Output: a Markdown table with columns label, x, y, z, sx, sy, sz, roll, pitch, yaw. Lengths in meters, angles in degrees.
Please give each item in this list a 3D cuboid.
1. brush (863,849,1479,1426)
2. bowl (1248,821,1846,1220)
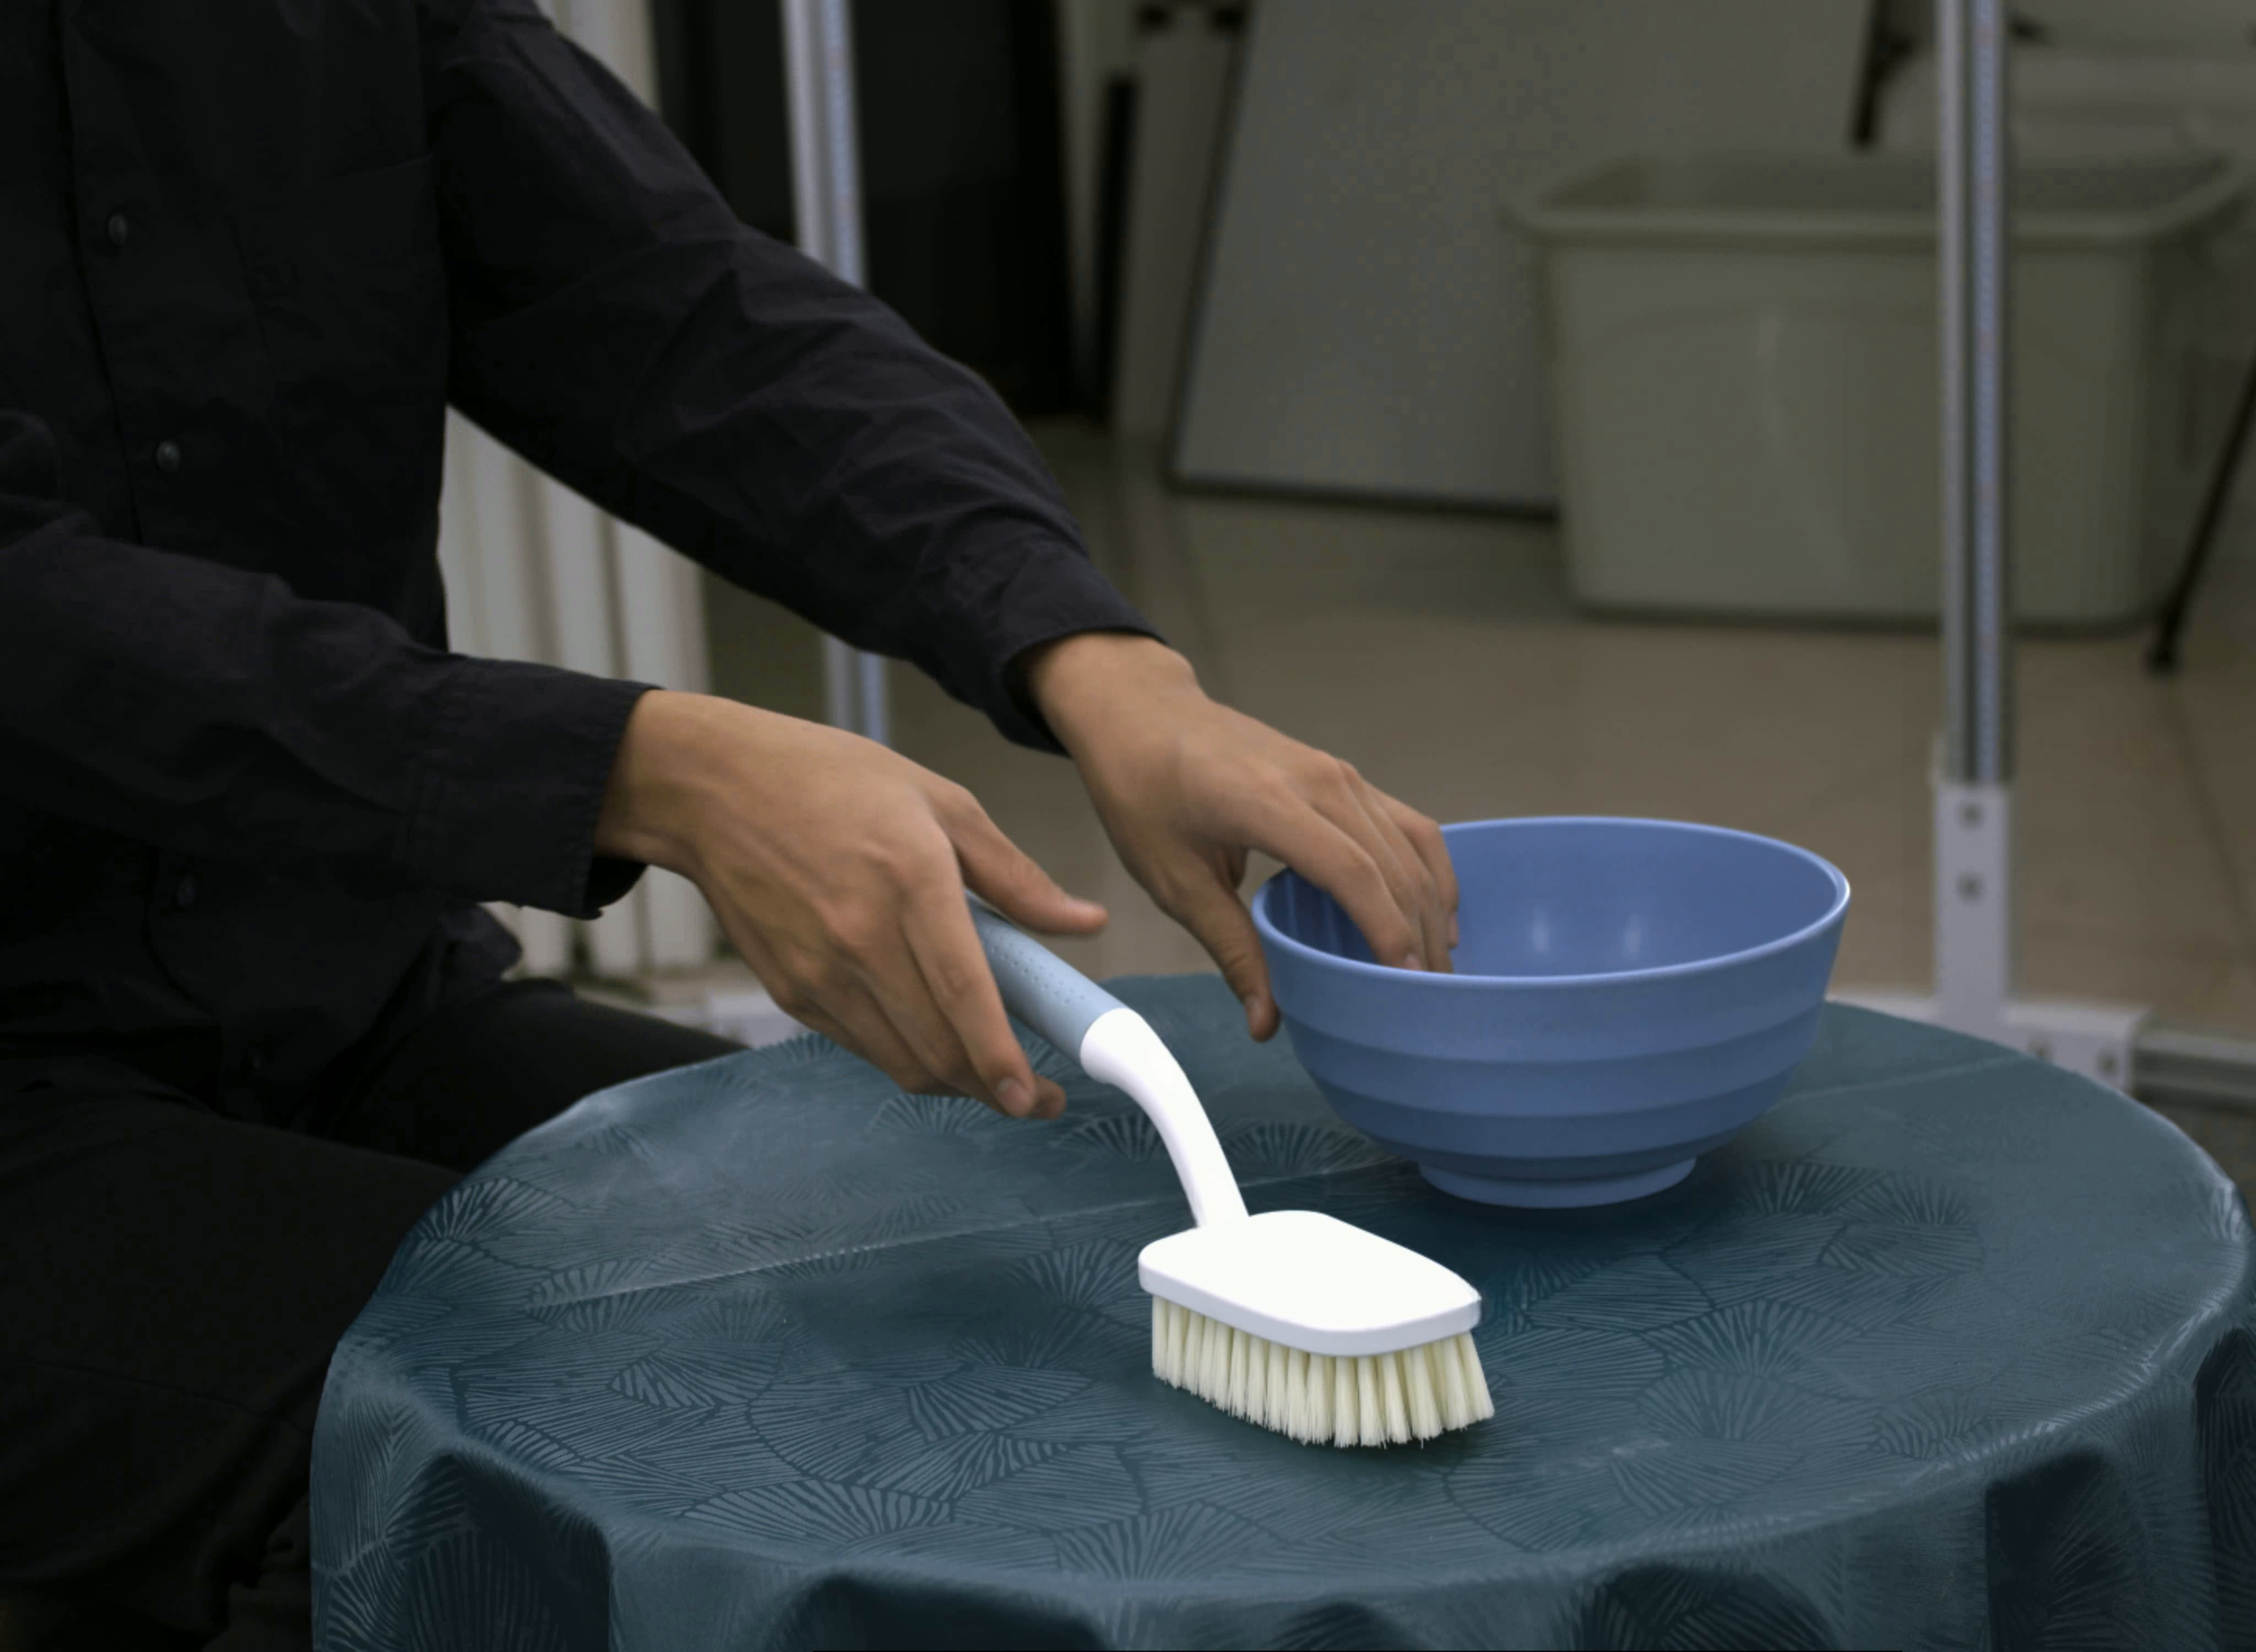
| label | x | y | z | sx | sy | sz | roll | pitch | yaw |
| --- | --- | --- | --- | --- | --- | --- | --- | --- | --- |
| brush | 0.008 | 0.107 | 1.649 | 0.081 | 0.085 | 0.329 | 33 | 1 | -40 |
| bowl | 0.139 | 0.069 | 1.758 | 0.194 | 0.096 | 0.197 | -5 | 14 | 0 |
